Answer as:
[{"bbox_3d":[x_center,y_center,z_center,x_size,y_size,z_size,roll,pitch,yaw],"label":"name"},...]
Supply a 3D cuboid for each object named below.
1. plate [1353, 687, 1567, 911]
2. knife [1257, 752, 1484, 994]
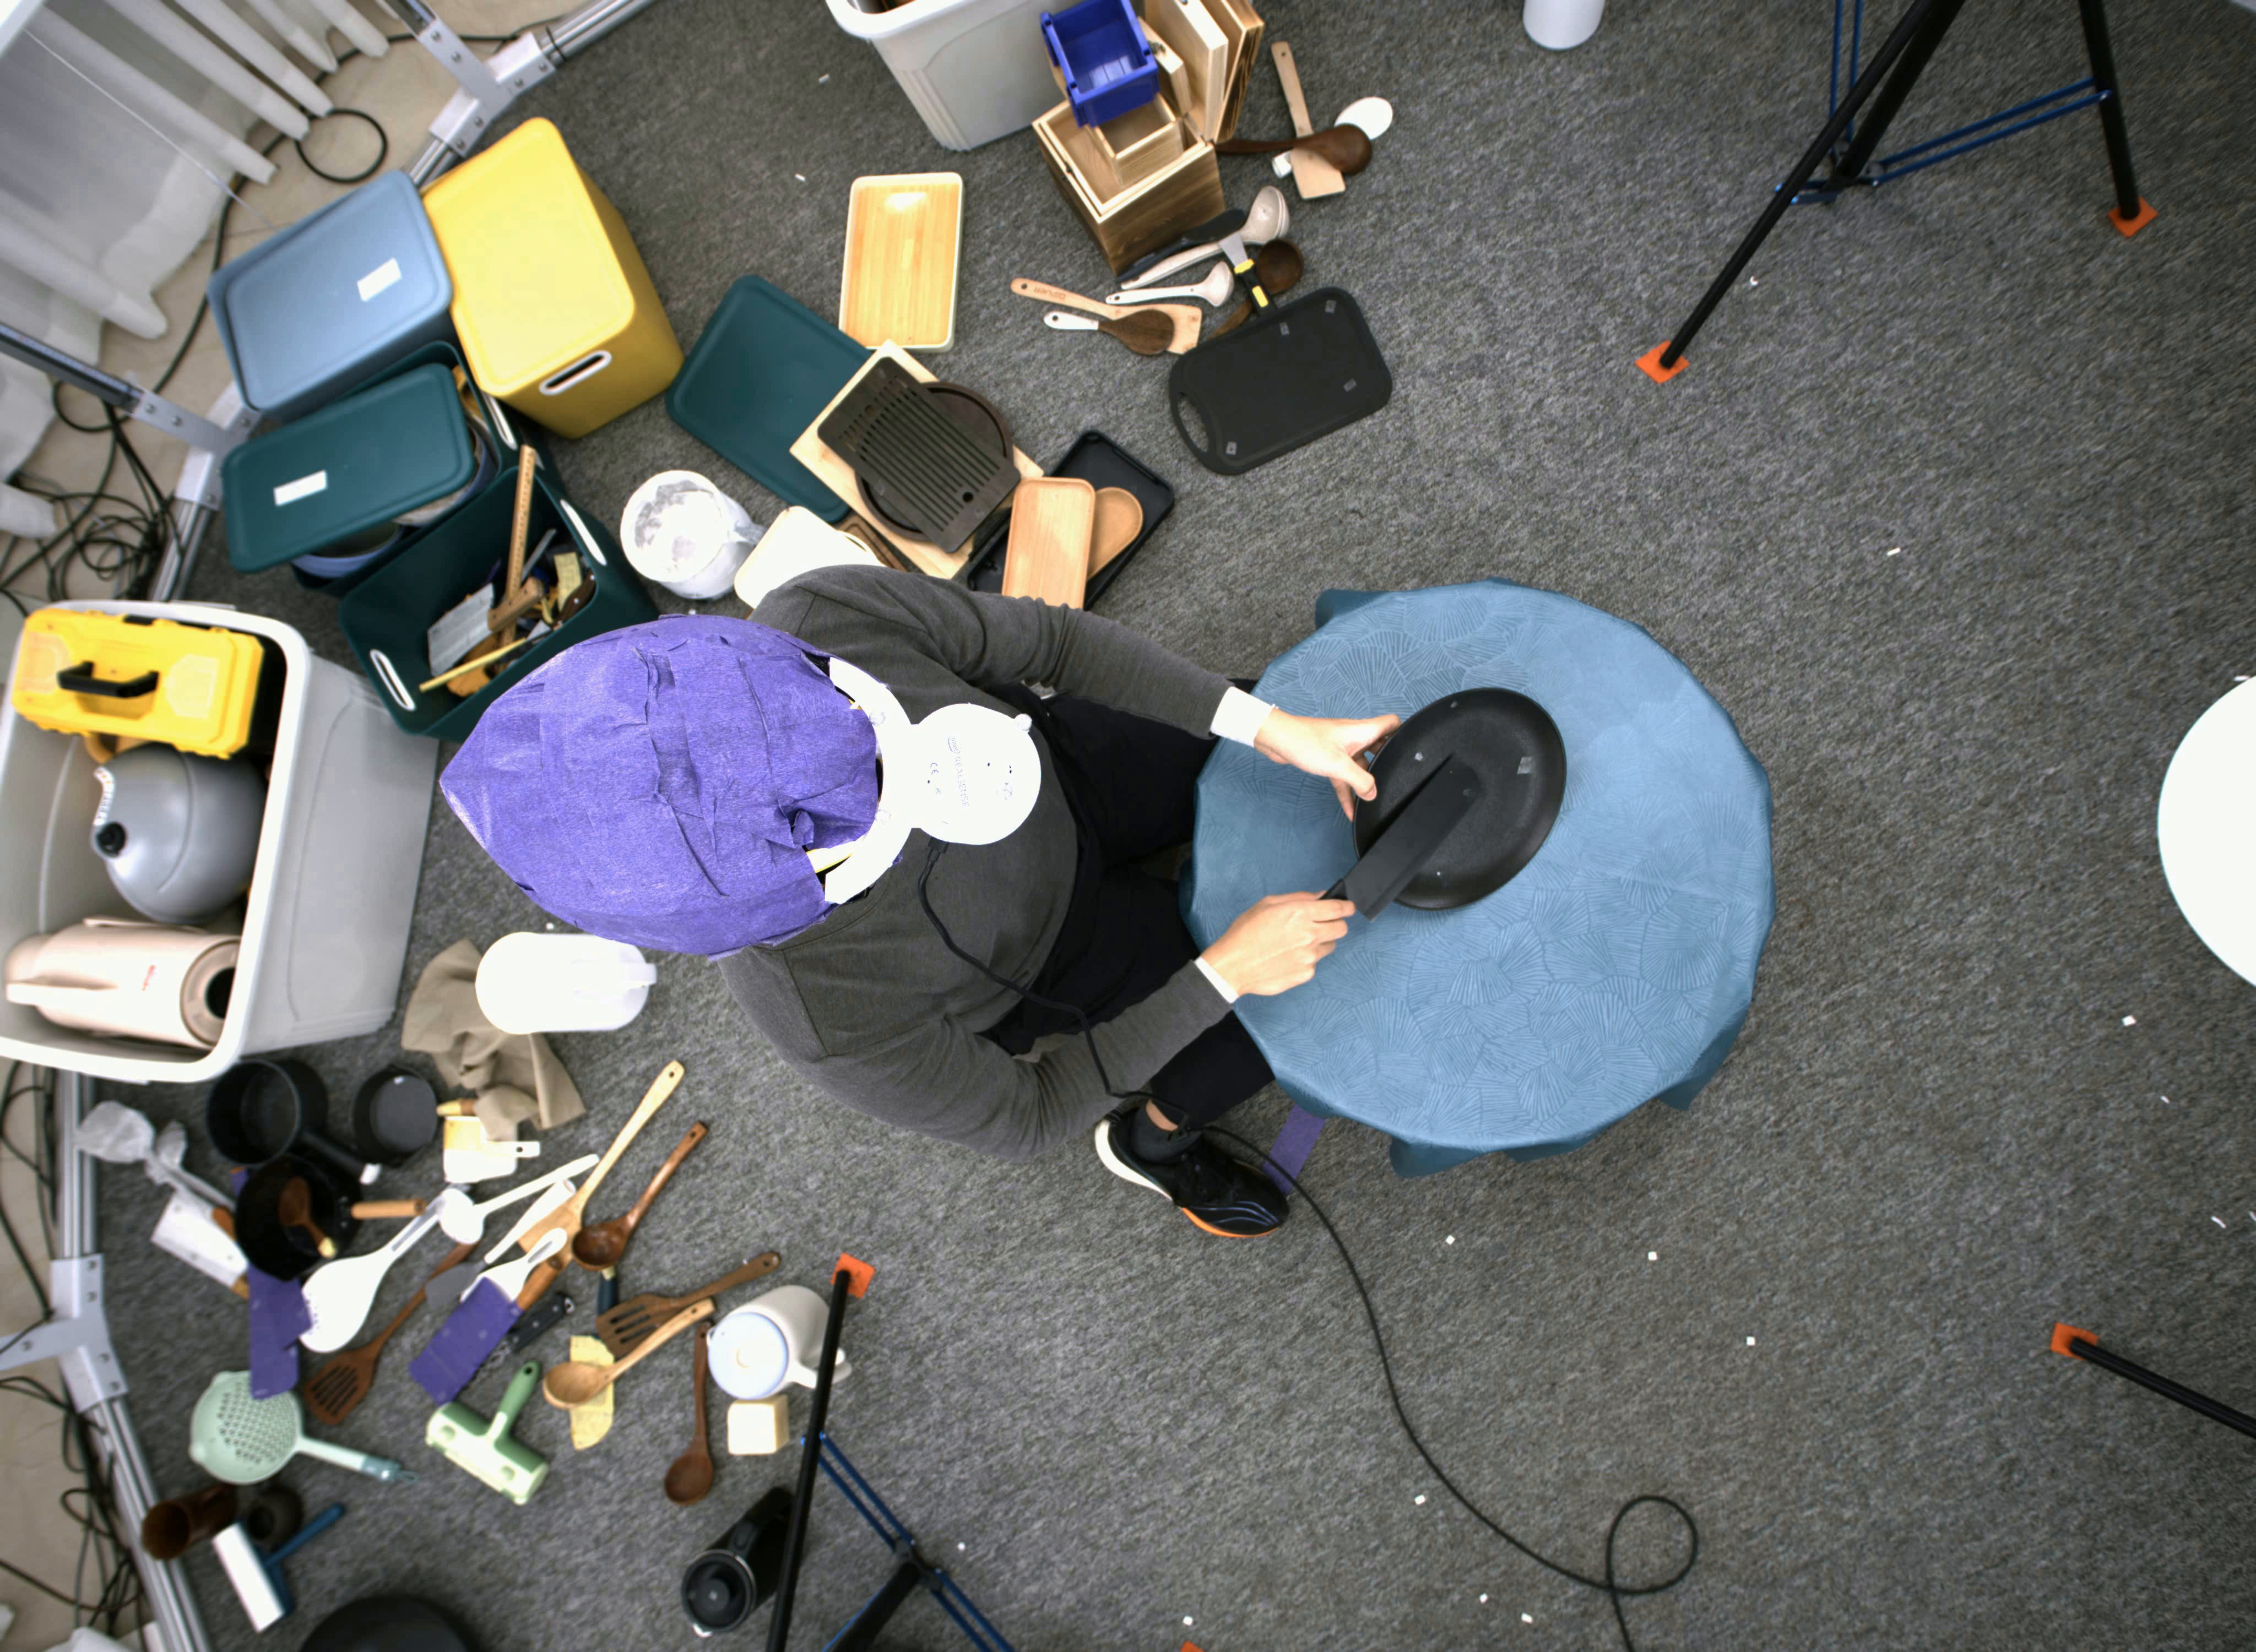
[{"bbox_3d":[0.330,-0.029,1.376,0.243,0.023,0.249,-9,120,-16],"label":"plate"},{"bbox_3d":[0.239,0.051,1.373,0.302,0.020,0.082,-45,122,1],"label":"knife"}]
